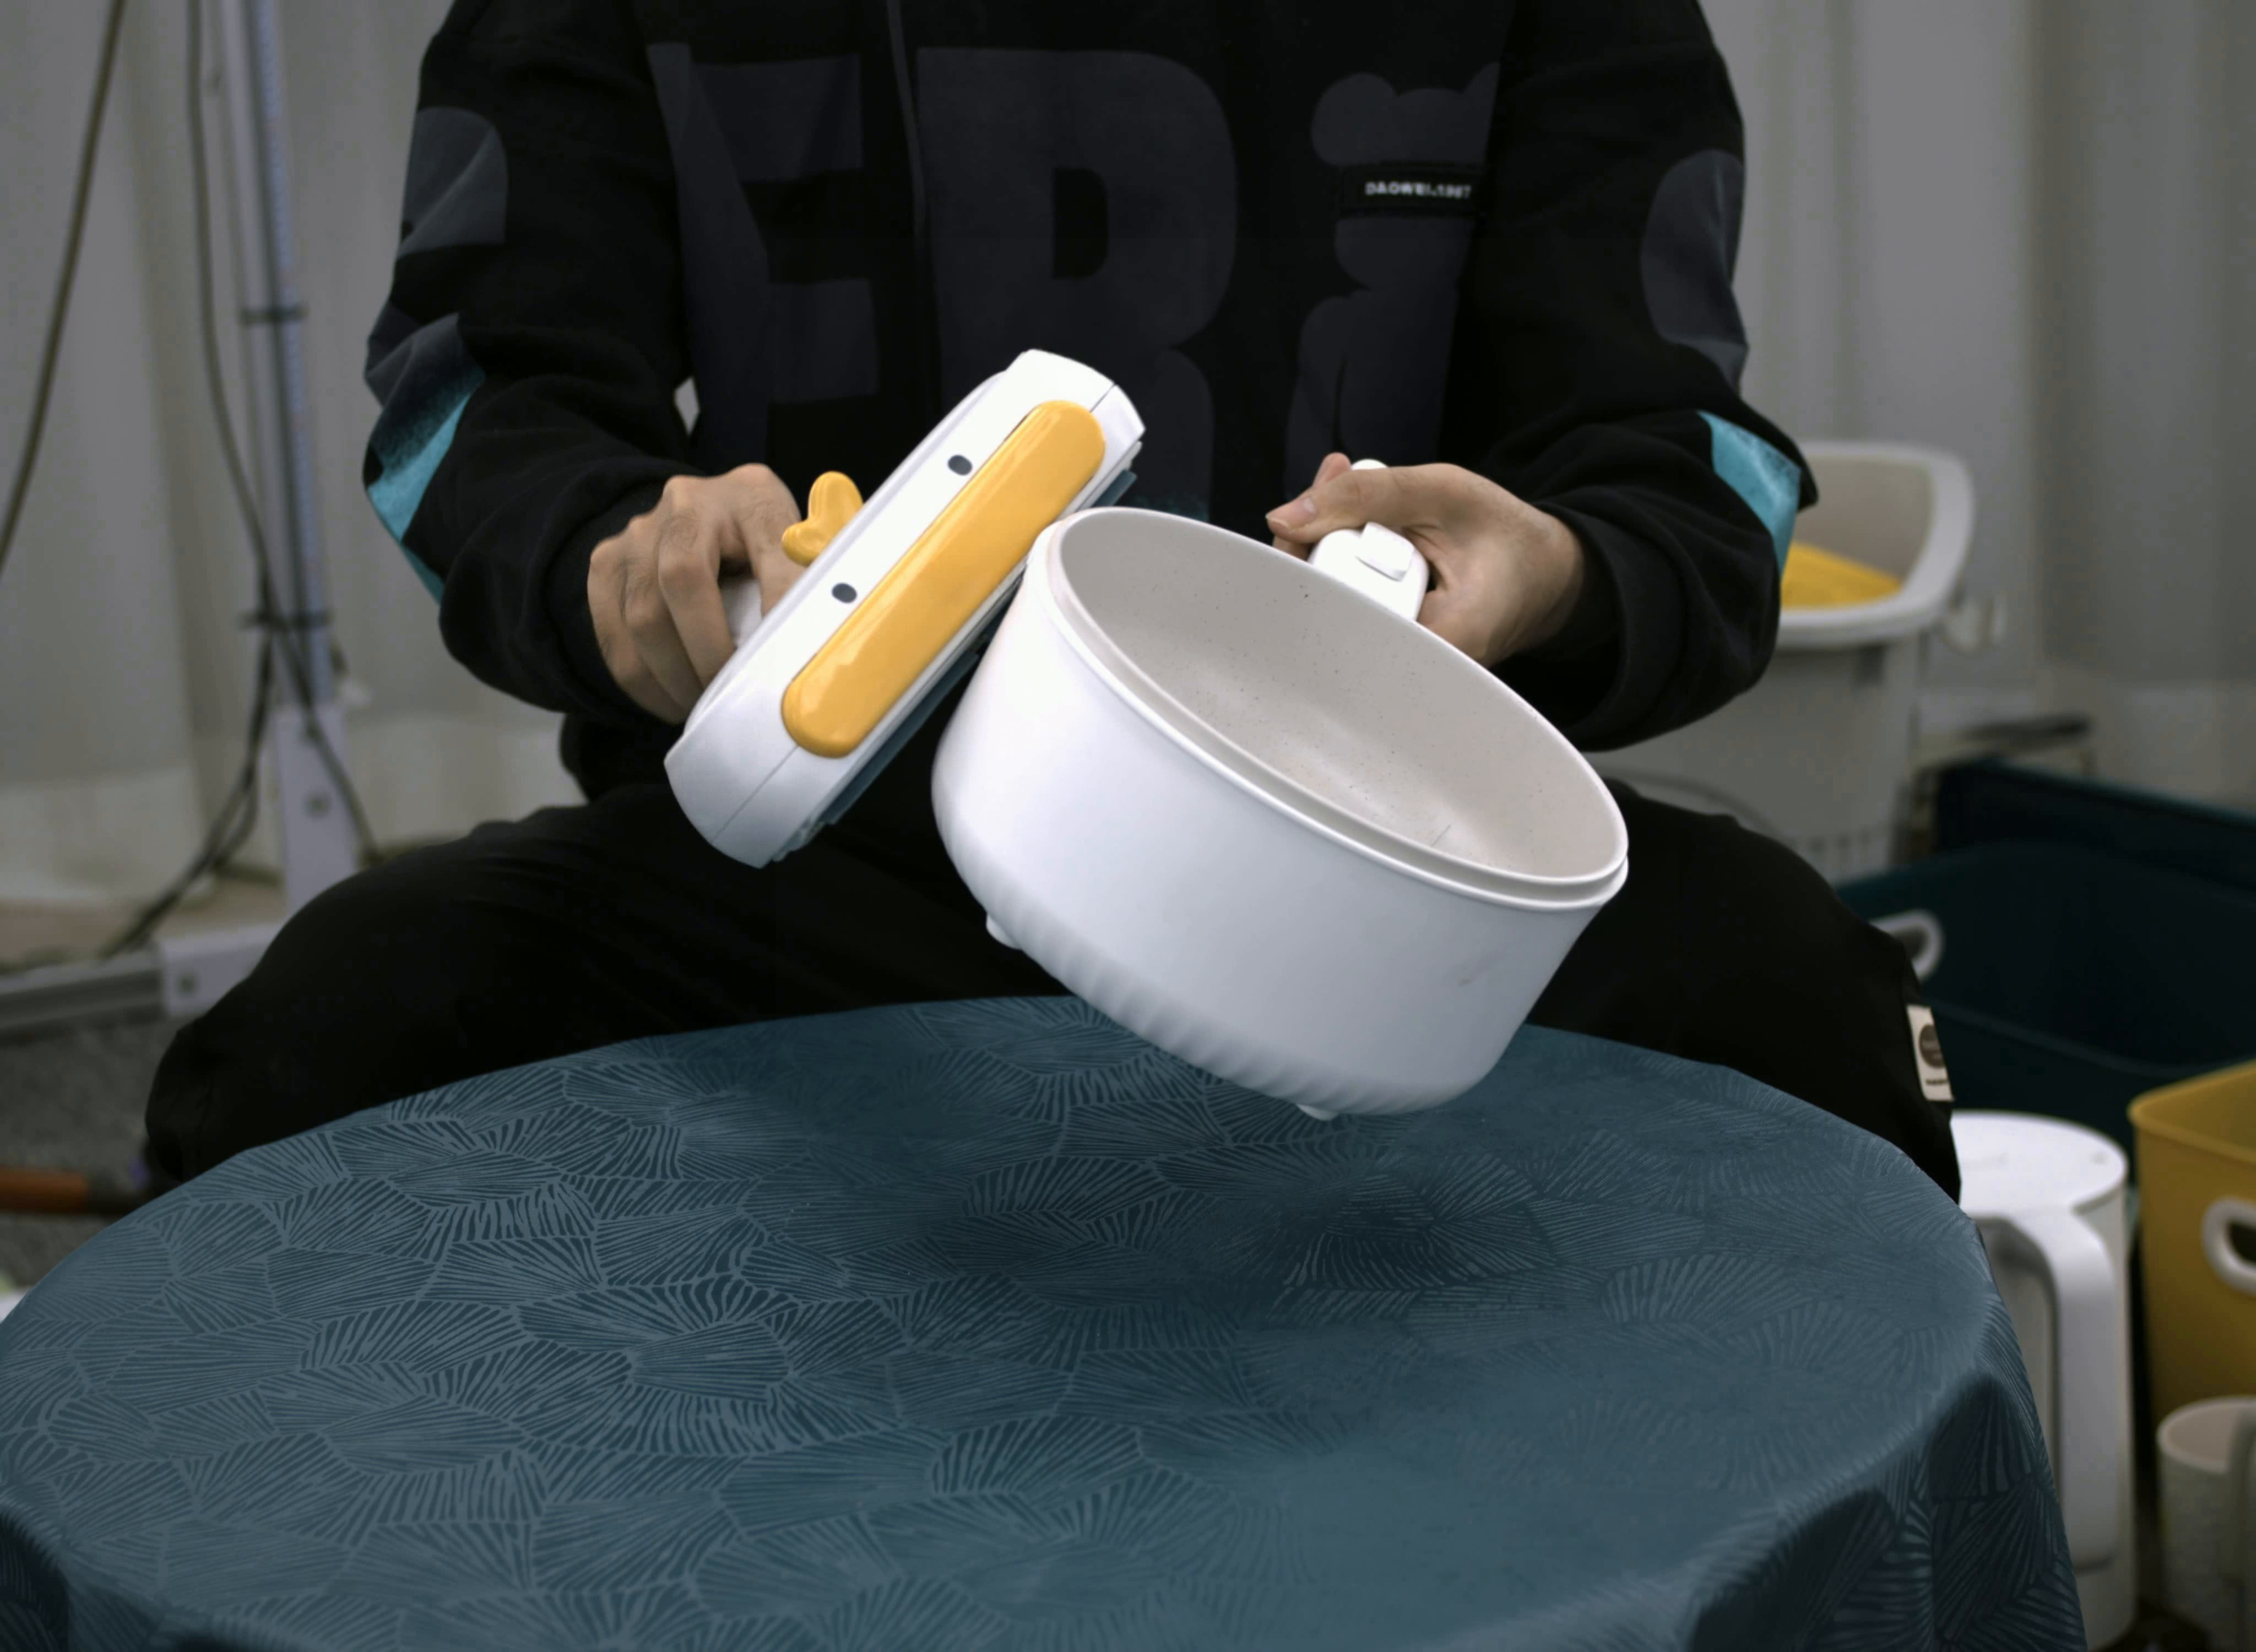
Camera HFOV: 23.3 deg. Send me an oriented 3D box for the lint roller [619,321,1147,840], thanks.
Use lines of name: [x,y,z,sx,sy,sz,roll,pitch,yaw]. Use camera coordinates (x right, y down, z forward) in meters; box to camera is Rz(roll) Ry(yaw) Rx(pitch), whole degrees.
lint roller: [-0.096,-0.067,1.705,0.194,0.074,0.192,-56,15,-28]

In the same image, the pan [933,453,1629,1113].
pan: [0.051,-0.027,1.704,0.201,0.101,0.357,30,20,-2]
